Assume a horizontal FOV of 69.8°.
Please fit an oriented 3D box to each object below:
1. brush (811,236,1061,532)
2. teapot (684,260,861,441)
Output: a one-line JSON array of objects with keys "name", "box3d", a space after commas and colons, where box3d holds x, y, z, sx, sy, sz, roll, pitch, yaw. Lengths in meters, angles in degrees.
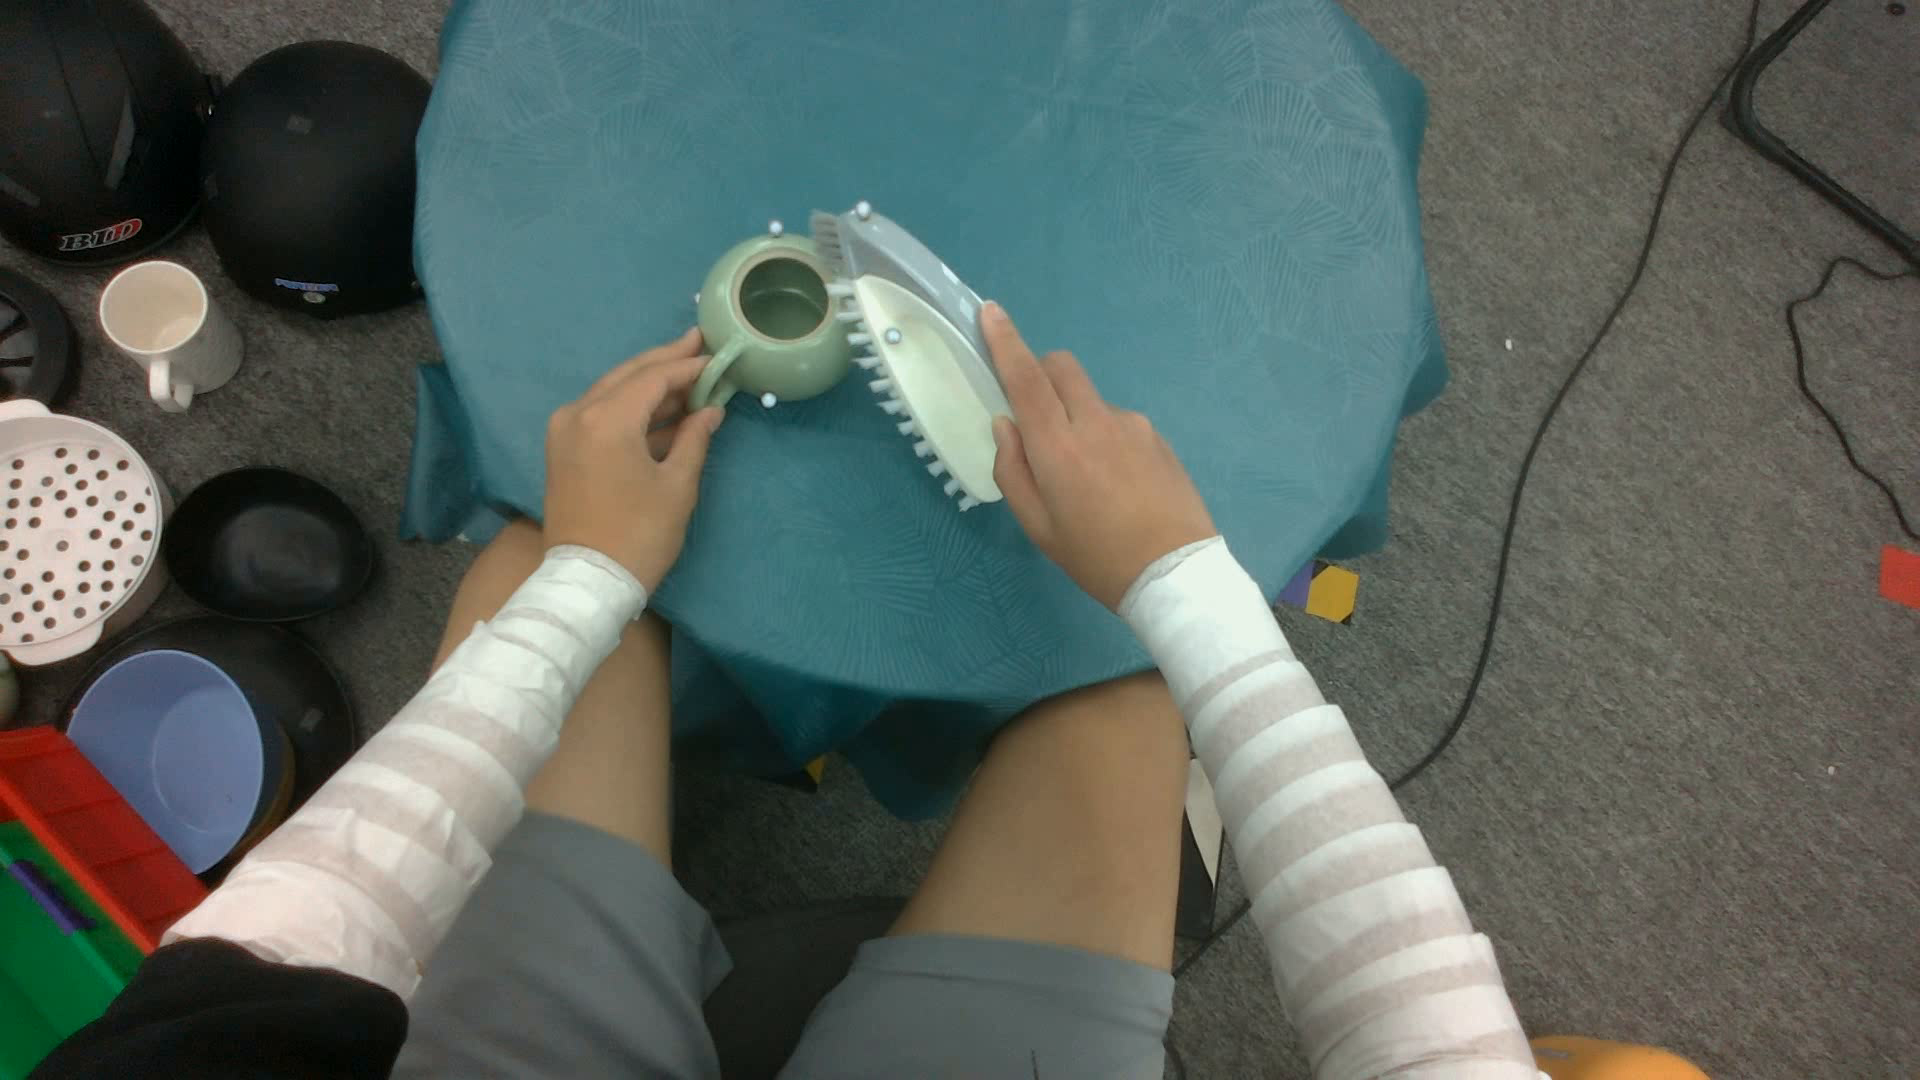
[{"name": "brush", "box3d": [-0.010, -0.089, 0.713, 0.062, 0.094, 0.175, -41, 103, -26]}, {"name": "teapot", "box3d": [-0.104, -0.102, 0.757, 0.091, 0.061, 0.129, 42, 72, 4]}]
